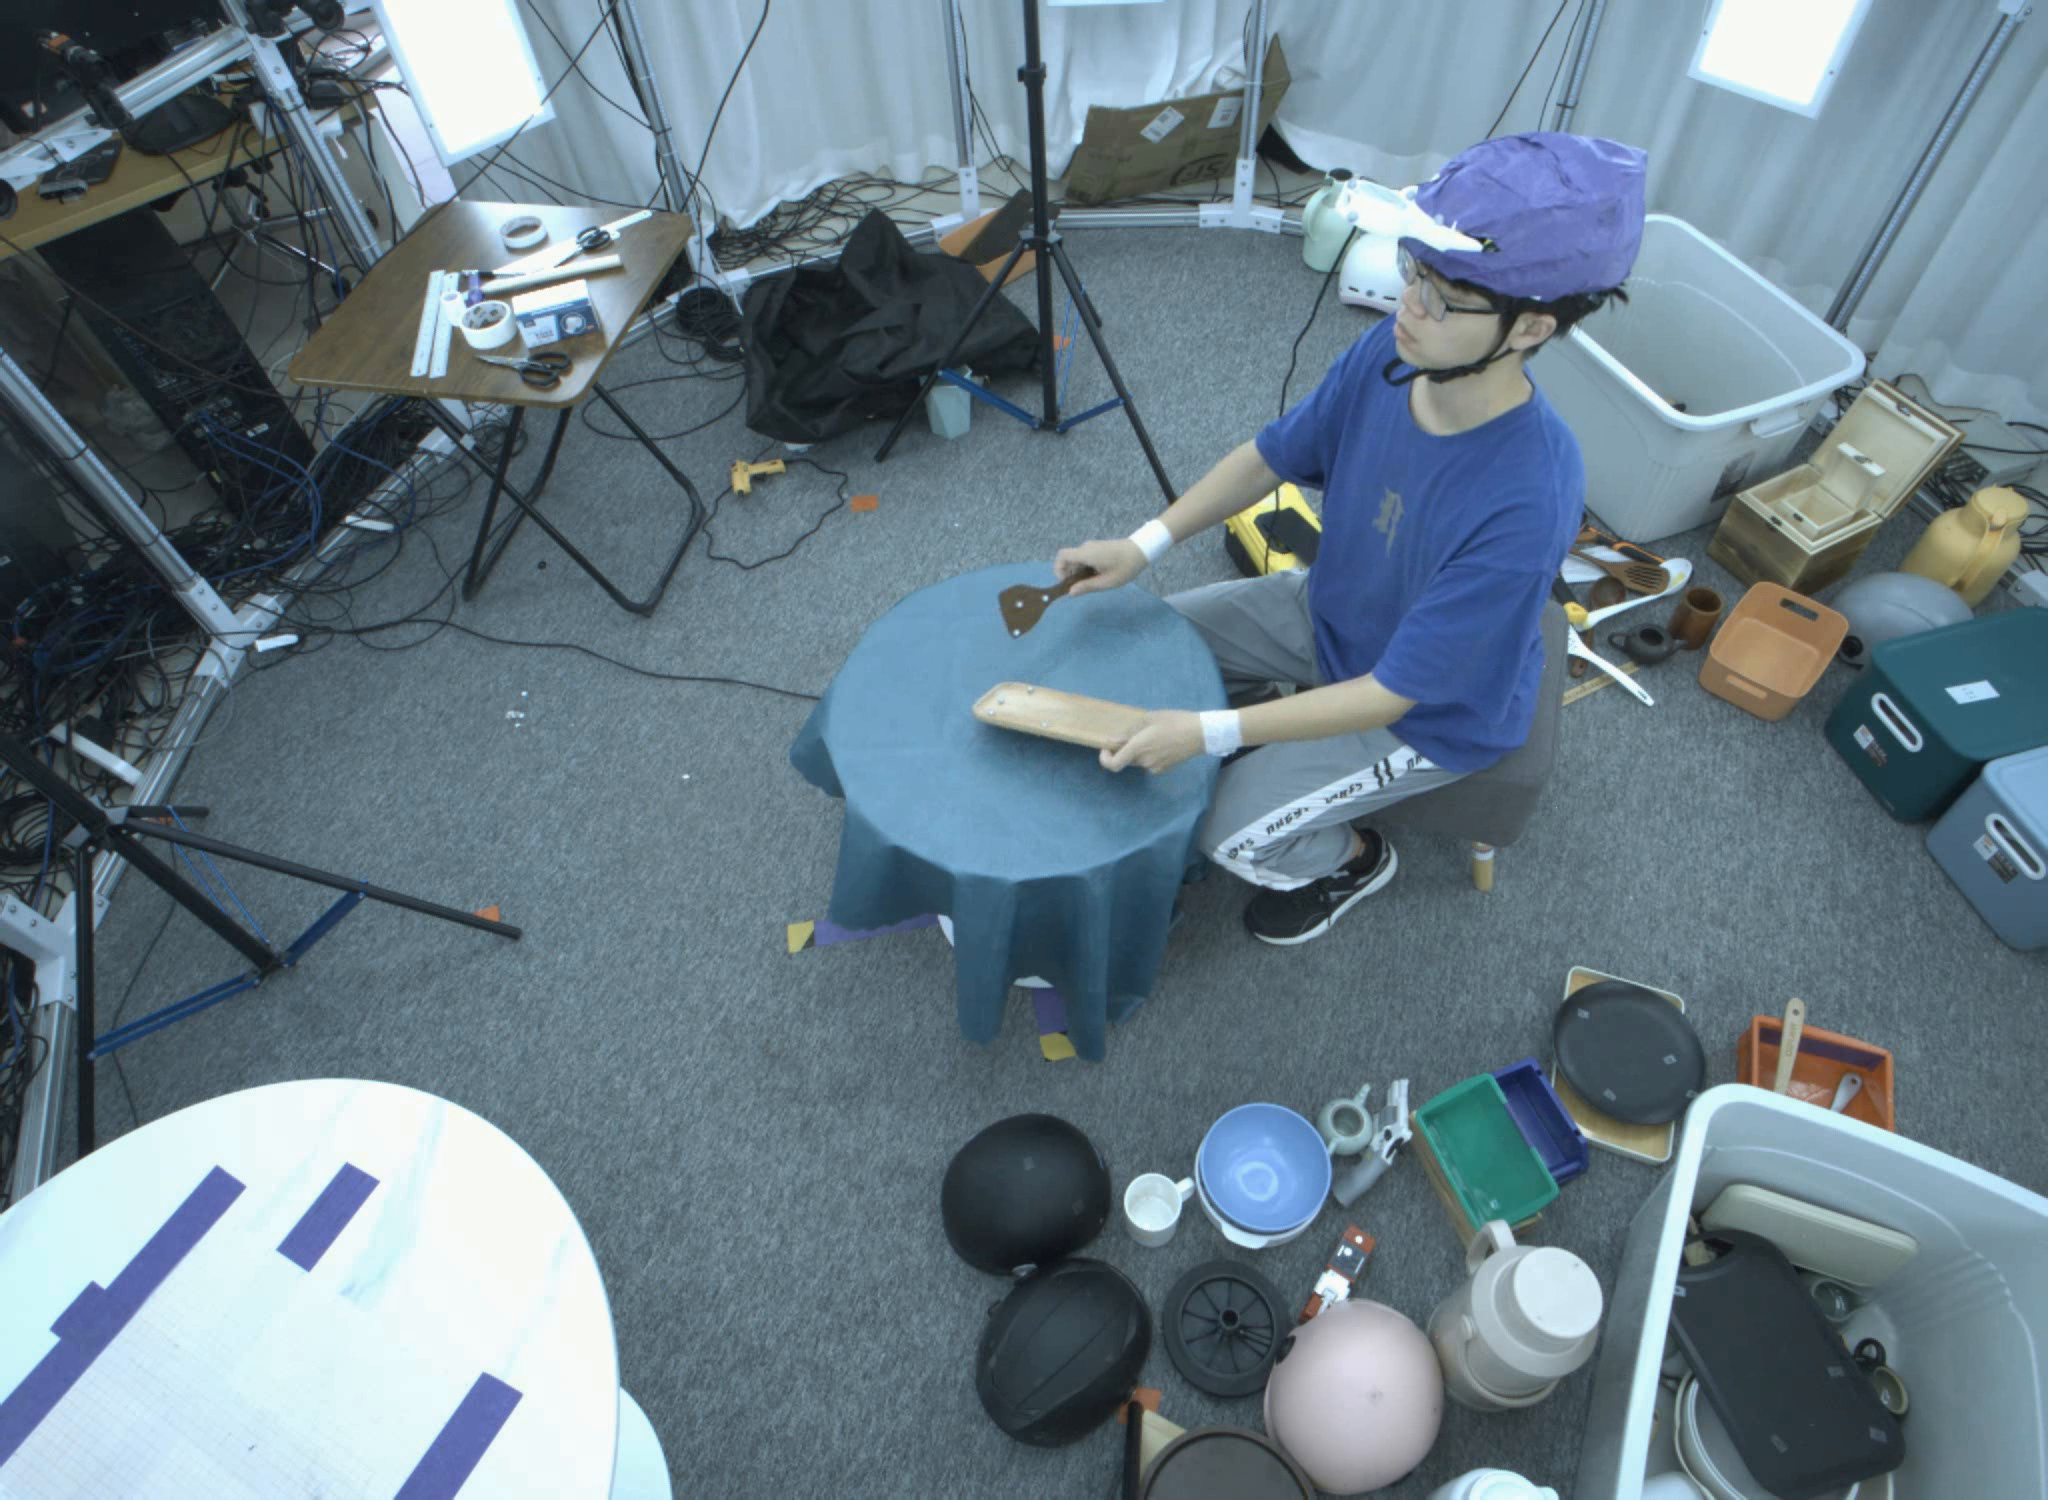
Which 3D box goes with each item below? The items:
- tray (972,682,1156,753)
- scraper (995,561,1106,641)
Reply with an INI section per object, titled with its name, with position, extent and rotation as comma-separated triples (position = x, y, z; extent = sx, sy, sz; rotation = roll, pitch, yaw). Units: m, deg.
[tray]
position = 0.056, -0.048, 1.758
extent = 0.247, 0.023, 0.131
rotation = 15, 32, 20
[scraper]
position = 0.043, -0.235, 1.841
extent = 0.214, 0.076, 0.010
rotation = -30, 21, -30
